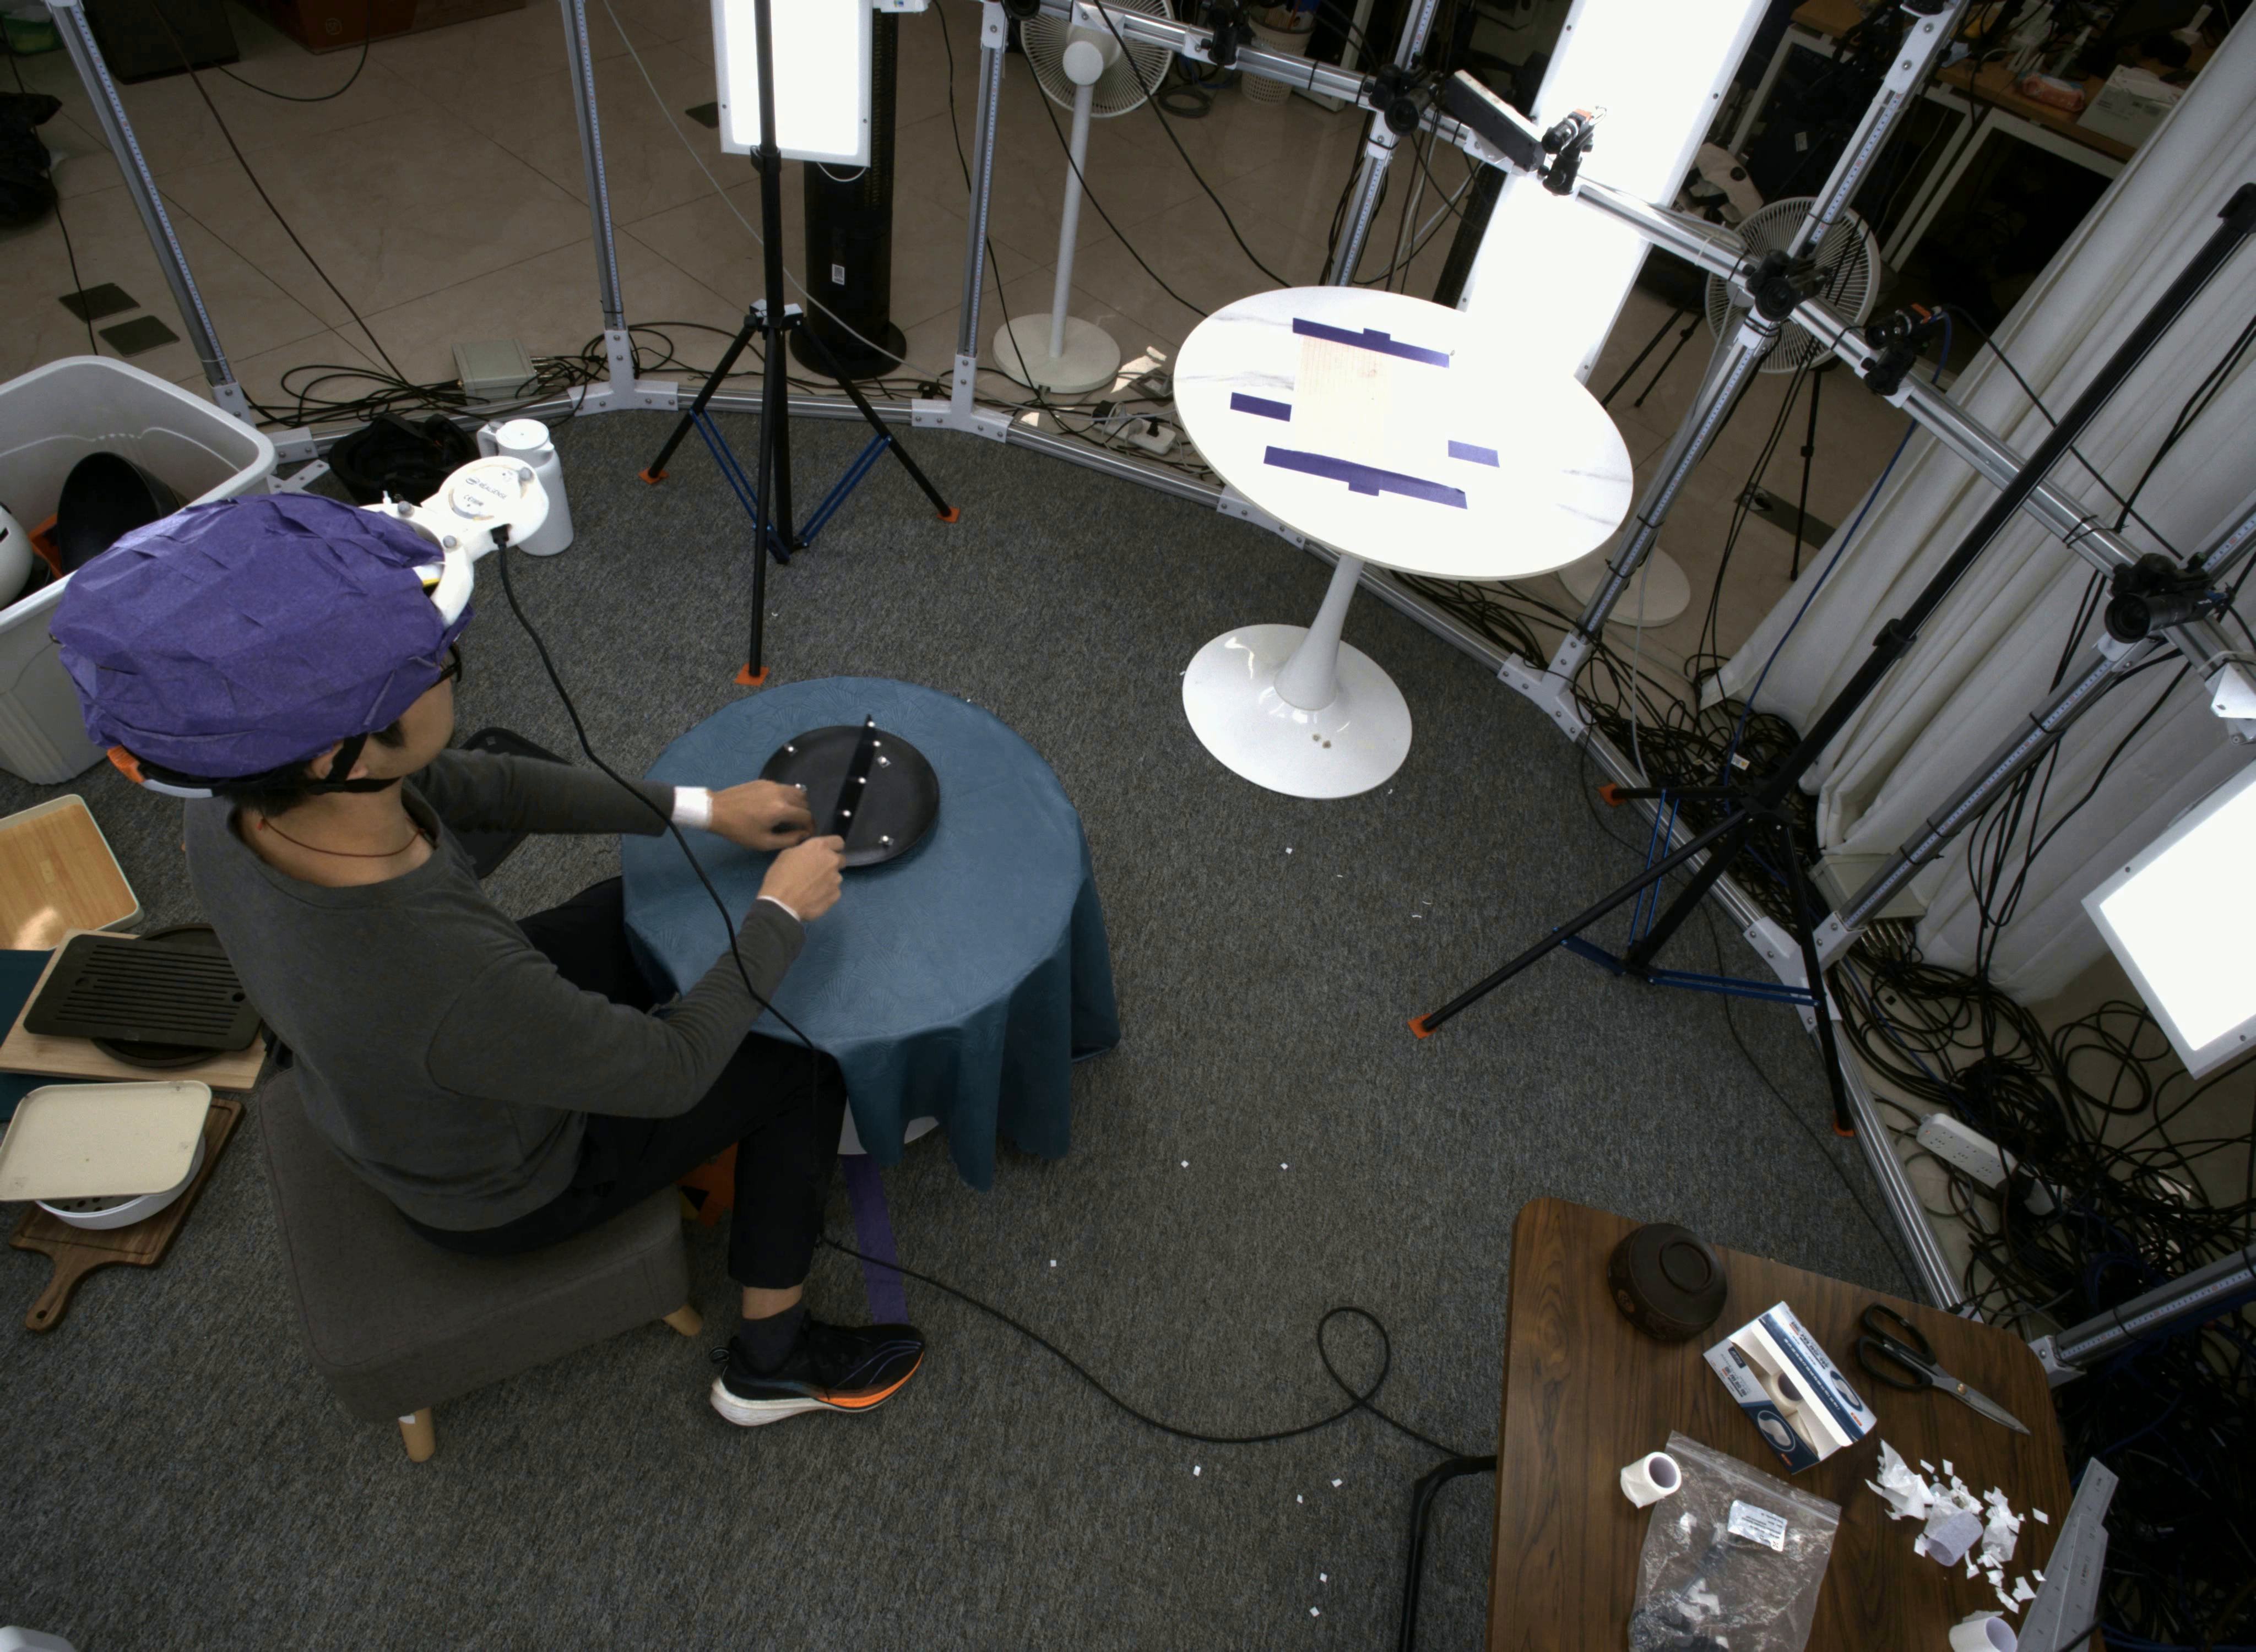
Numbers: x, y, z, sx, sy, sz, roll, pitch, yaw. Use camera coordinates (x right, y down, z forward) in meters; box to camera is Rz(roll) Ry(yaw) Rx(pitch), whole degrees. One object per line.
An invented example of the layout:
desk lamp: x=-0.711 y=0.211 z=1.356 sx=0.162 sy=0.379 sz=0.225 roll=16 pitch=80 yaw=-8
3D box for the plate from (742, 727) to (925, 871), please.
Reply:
plate: x=-0.396 y=-0.036 z=1.755 sx=0.244 sy=0.024 sz=0.240 roll=8 pitch=53 yaw=-9

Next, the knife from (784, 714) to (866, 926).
knife: x=-0.377 y=-0.008 z=1.633 sx=0.020 sy=0.083 sz=0.298 roll=6 pitch=54 yaw=8
